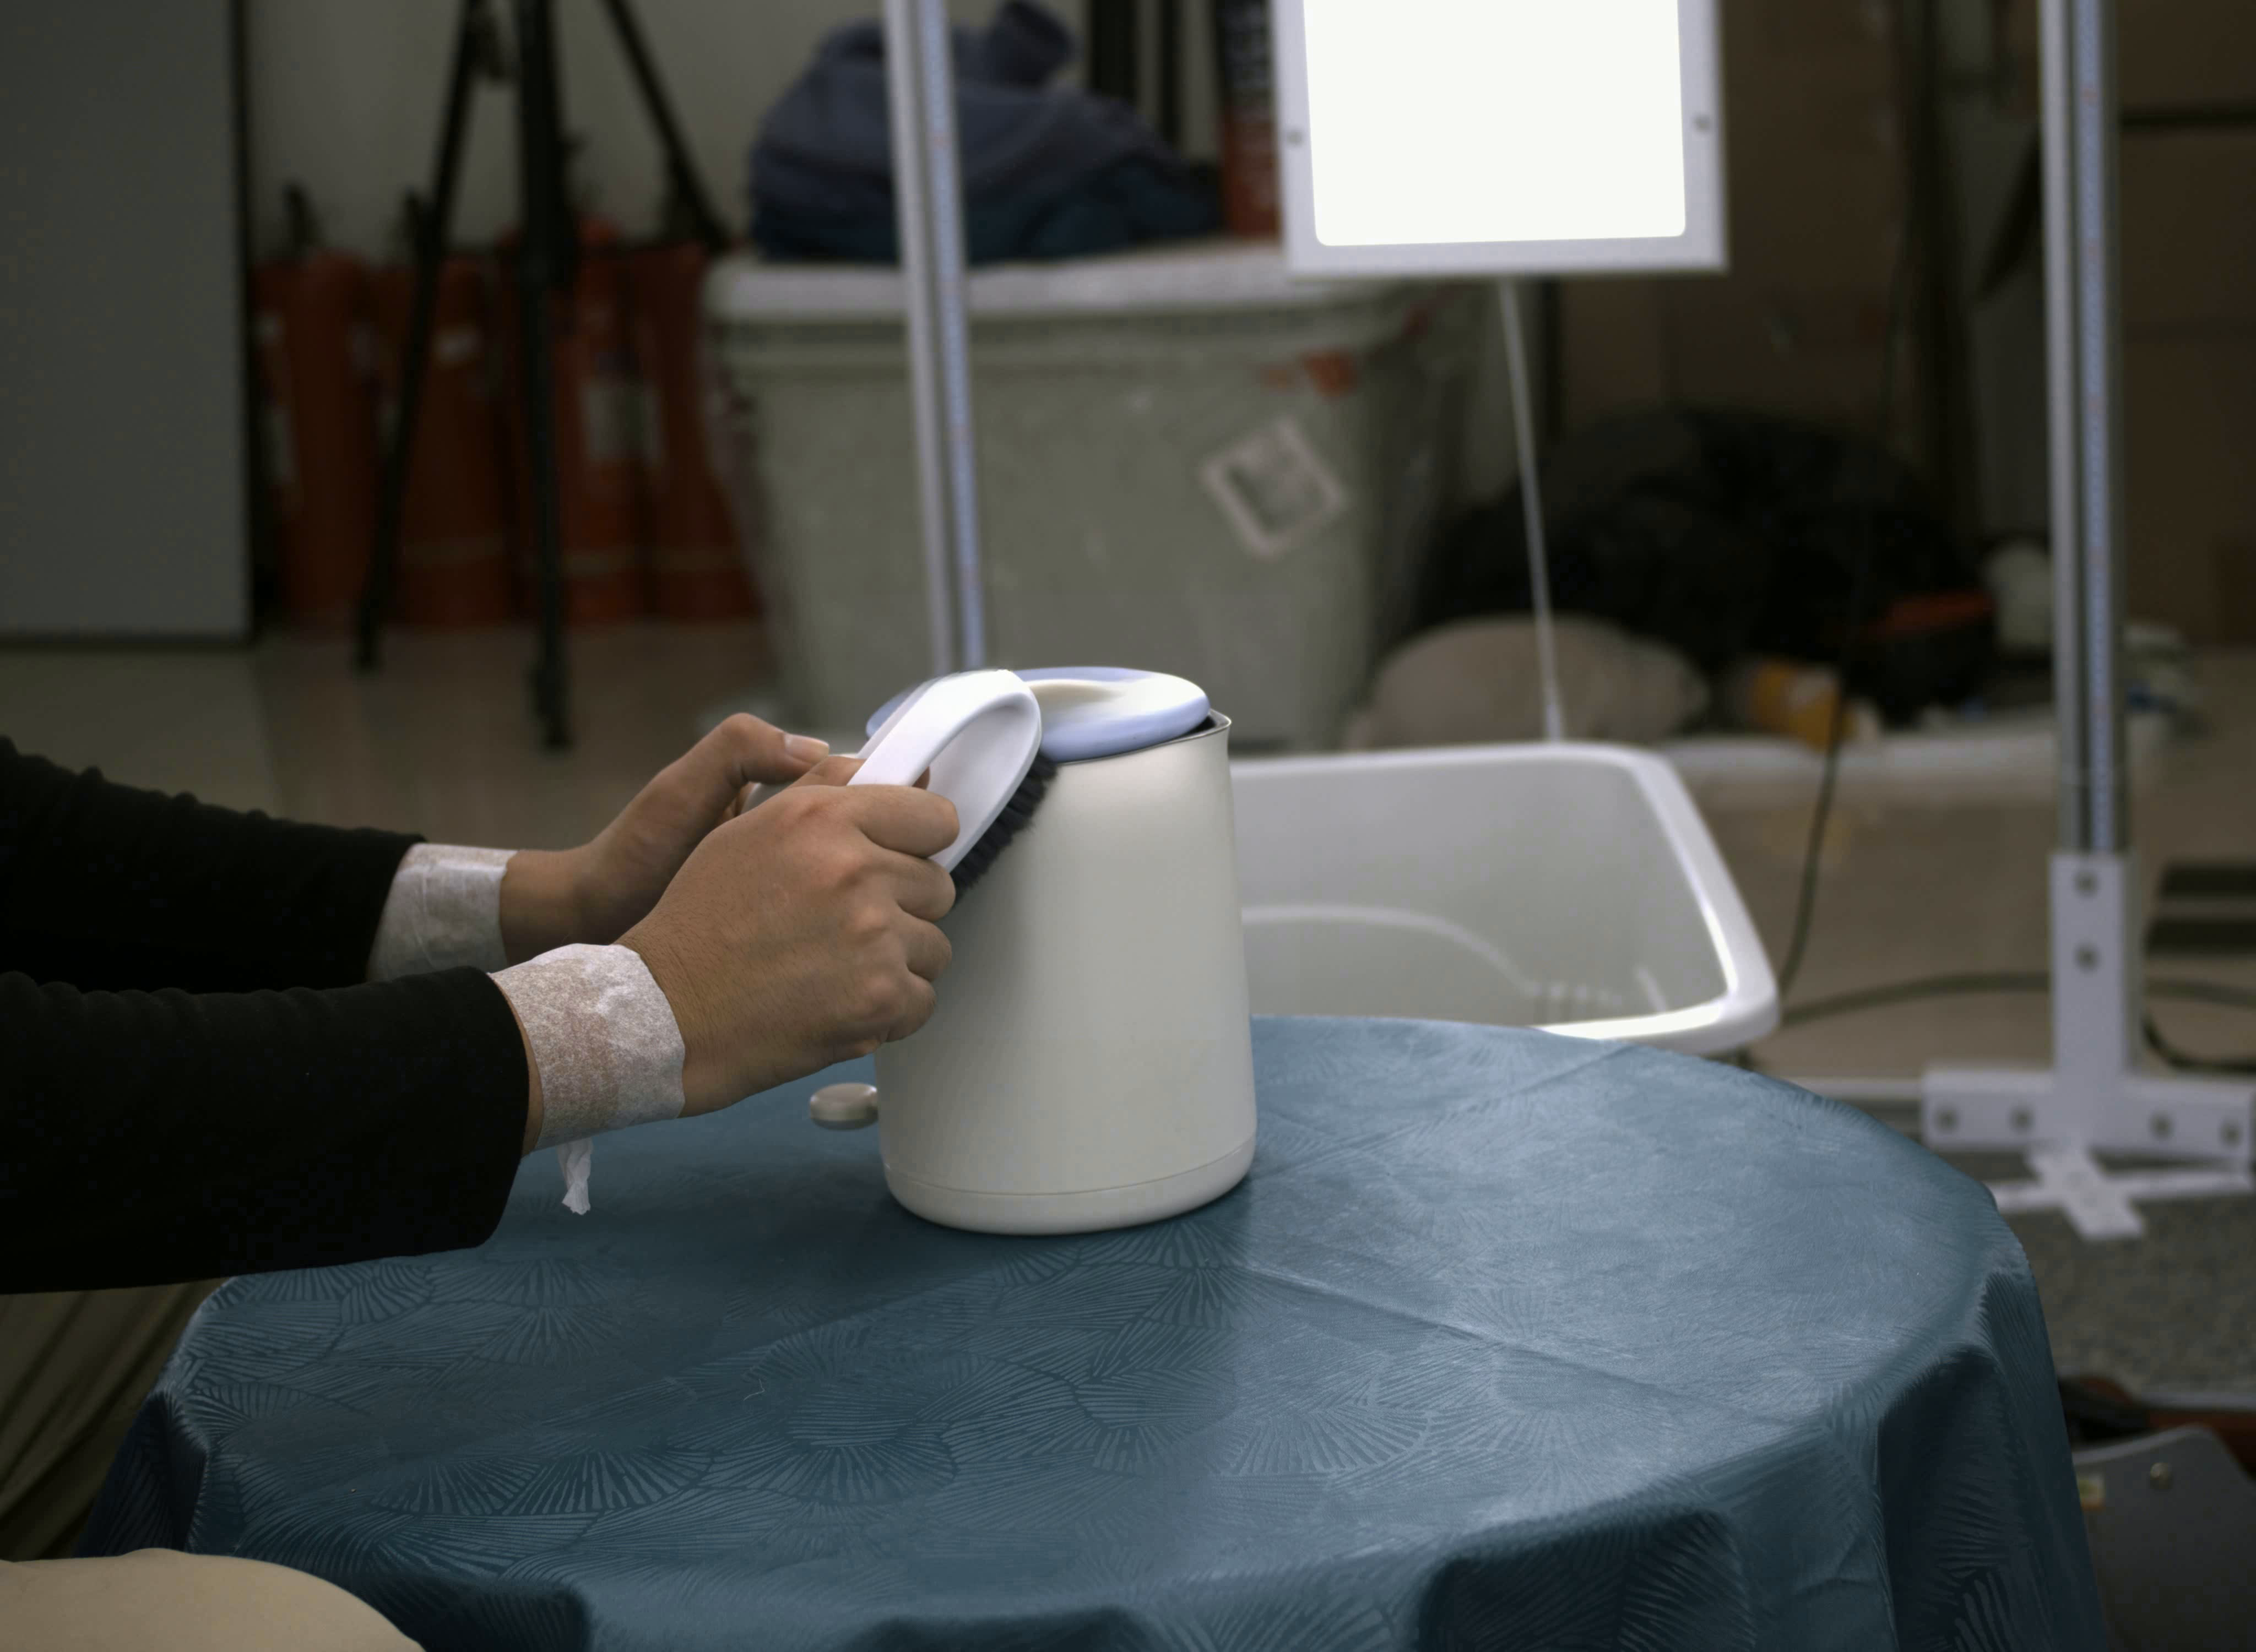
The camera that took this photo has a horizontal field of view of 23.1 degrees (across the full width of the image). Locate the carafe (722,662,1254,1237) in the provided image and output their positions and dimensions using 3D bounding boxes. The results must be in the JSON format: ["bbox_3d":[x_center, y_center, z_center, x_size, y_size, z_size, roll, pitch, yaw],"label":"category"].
[{"bbox_3d":[-0.050,0.042,1.901,0.193,0.183,0.130,-2,14,18],"label":"carafe"}]

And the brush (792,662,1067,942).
[{"bbox_3d":[-0.068,-0.011,1.787,0.050,0.099,0.072,44,0,18],"label":"brush"}]
